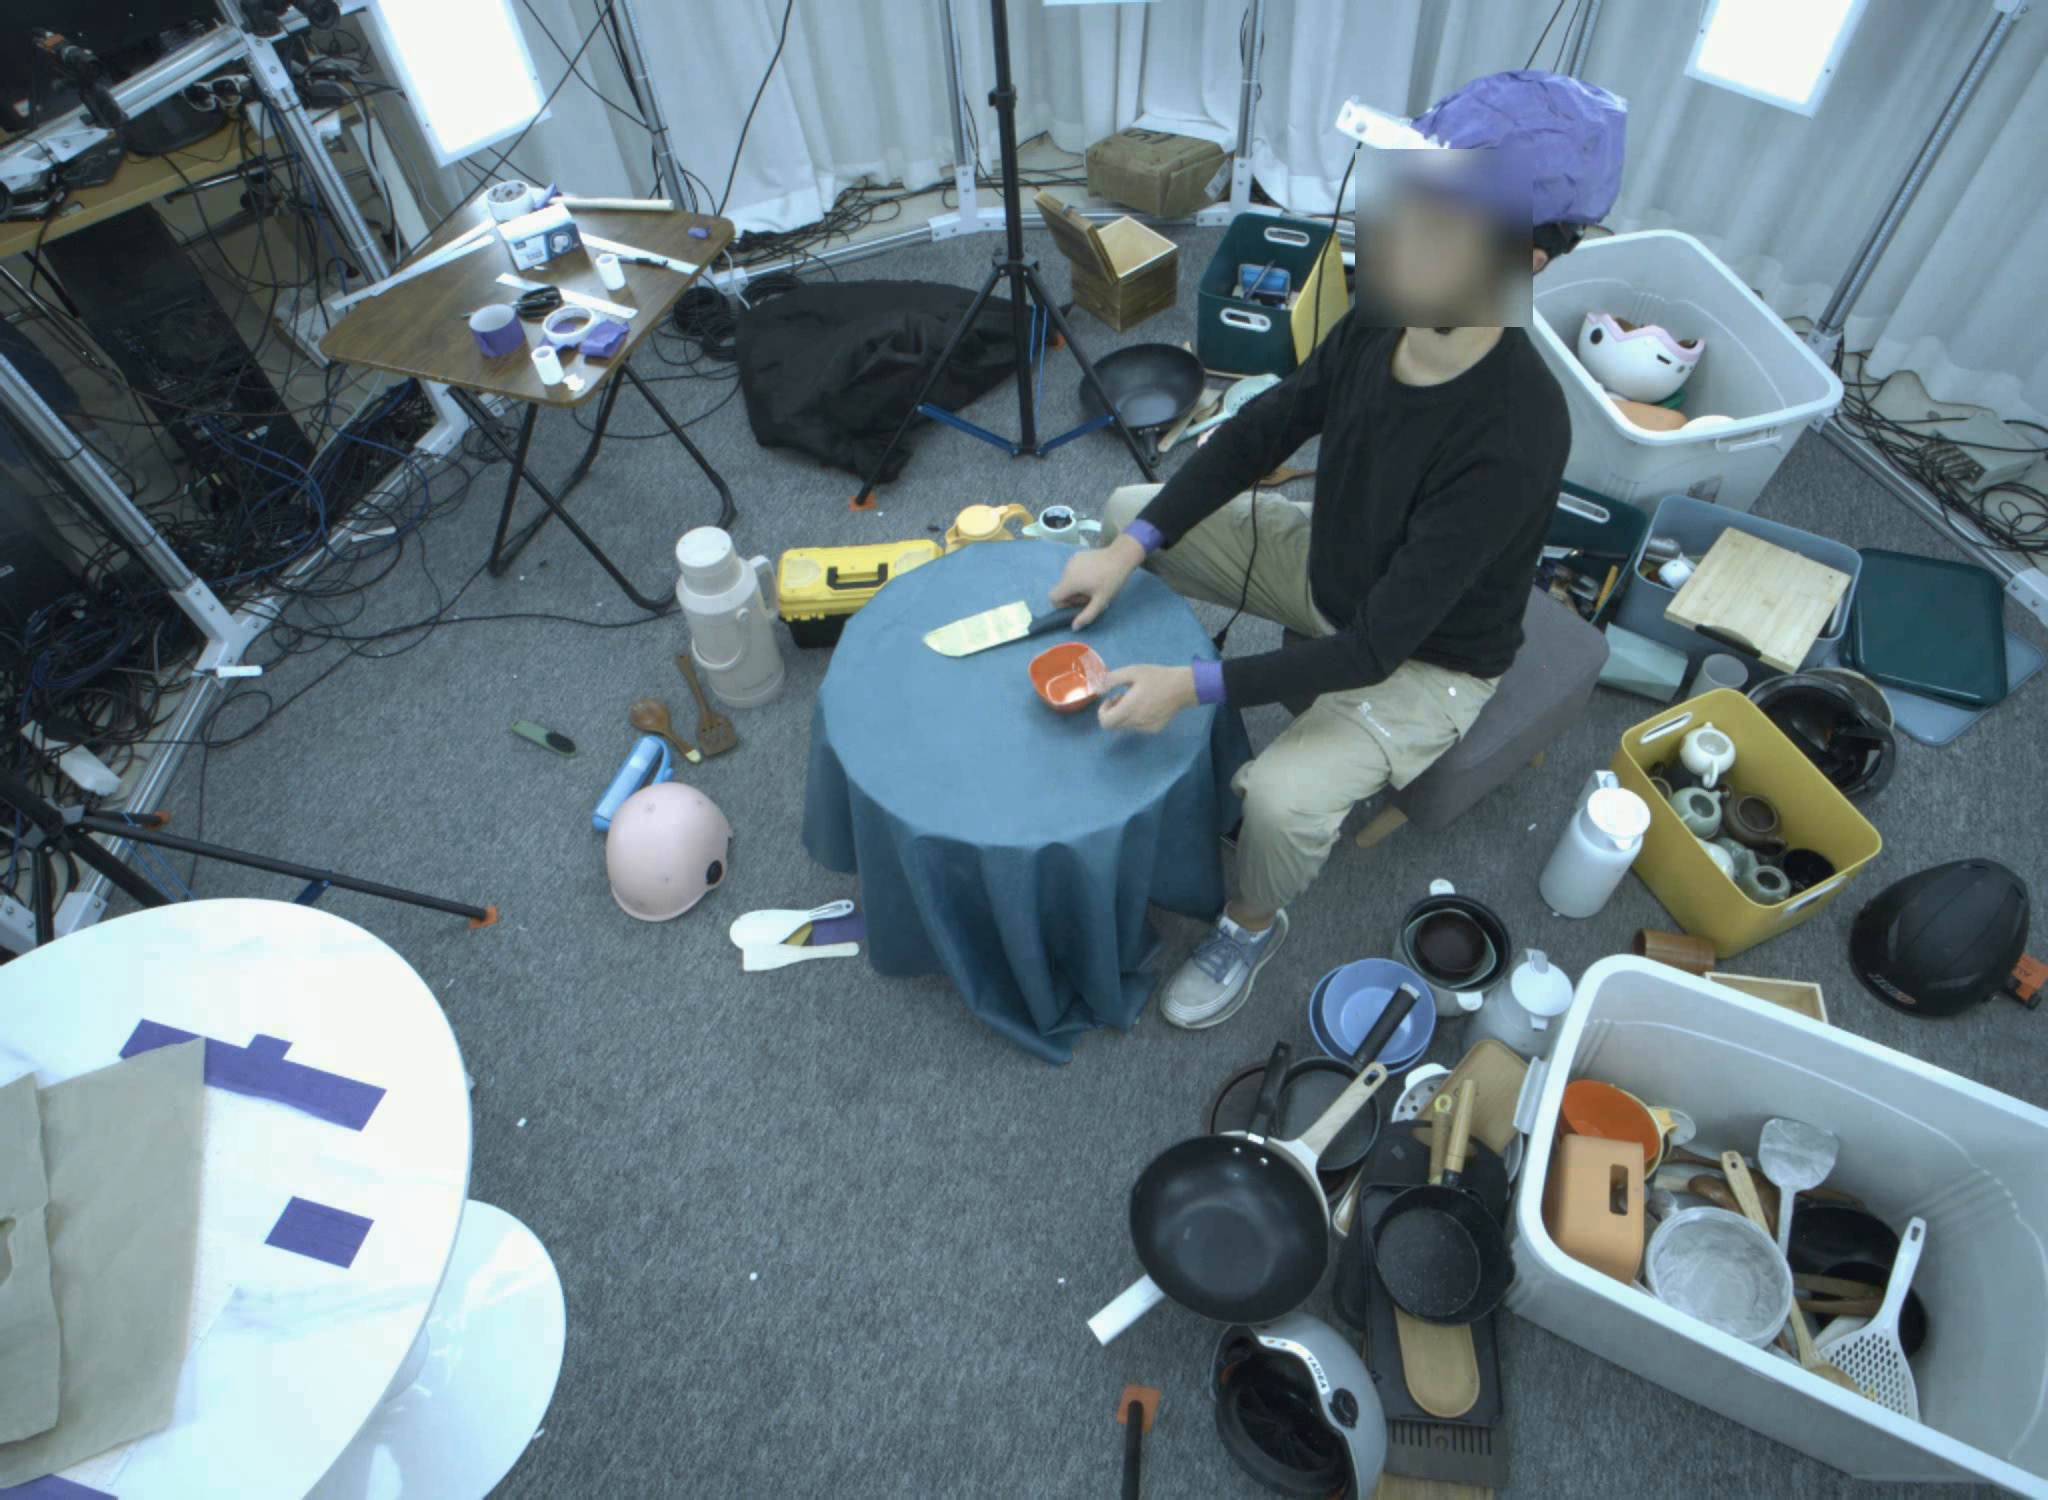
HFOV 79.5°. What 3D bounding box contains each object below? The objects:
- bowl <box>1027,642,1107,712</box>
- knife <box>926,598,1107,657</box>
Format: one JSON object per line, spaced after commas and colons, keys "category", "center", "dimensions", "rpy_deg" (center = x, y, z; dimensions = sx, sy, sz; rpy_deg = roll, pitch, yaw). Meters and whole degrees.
{"category": "bowl", "center": [0.065, -0.100, 1.820], "dimensions": [0.118, 0.052, 0.117], "rpy_deg": [-2, 53, 4]}
{"category": "knife", "center": [-0.014, -0.200, 1.918], "dimensions": [0.291, 0.027, 0.080], "rpy_deg": [-15, 56, -7]}
